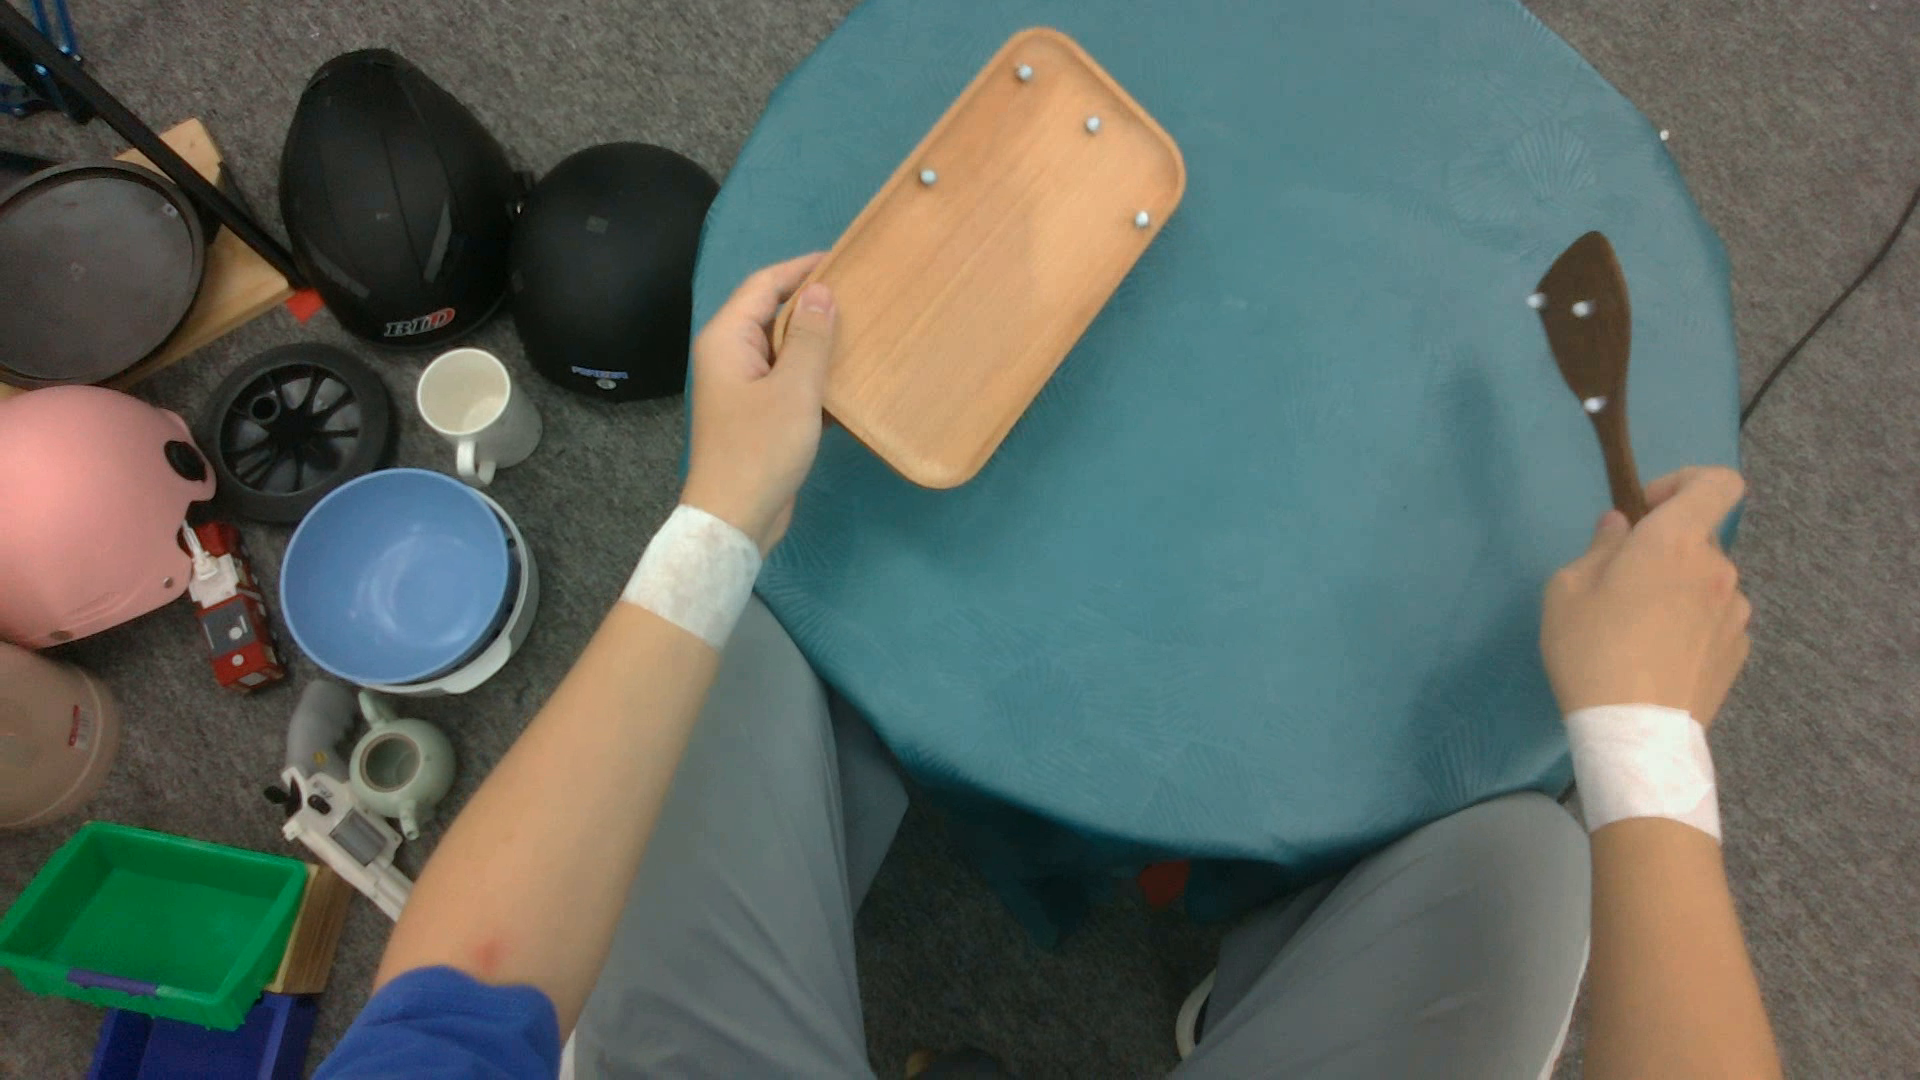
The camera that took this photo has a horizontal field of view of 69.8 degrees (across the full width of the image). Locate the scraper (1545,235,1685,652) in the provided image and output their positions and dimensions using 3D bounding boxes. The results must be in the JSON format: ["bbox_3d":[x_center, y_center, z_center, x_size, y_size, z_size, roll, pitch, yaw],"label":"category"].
[{"bbox_3d":[0.332,-0.048,0.691,0.011,0.075,0.212,-5,73,0],"label":"scraper"}]

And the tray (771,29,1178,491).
[{"bbox_3d":[0.013,-0.149,0.720,0.130,0.023,0.251,38,72,-9],"label":"tray"}]
